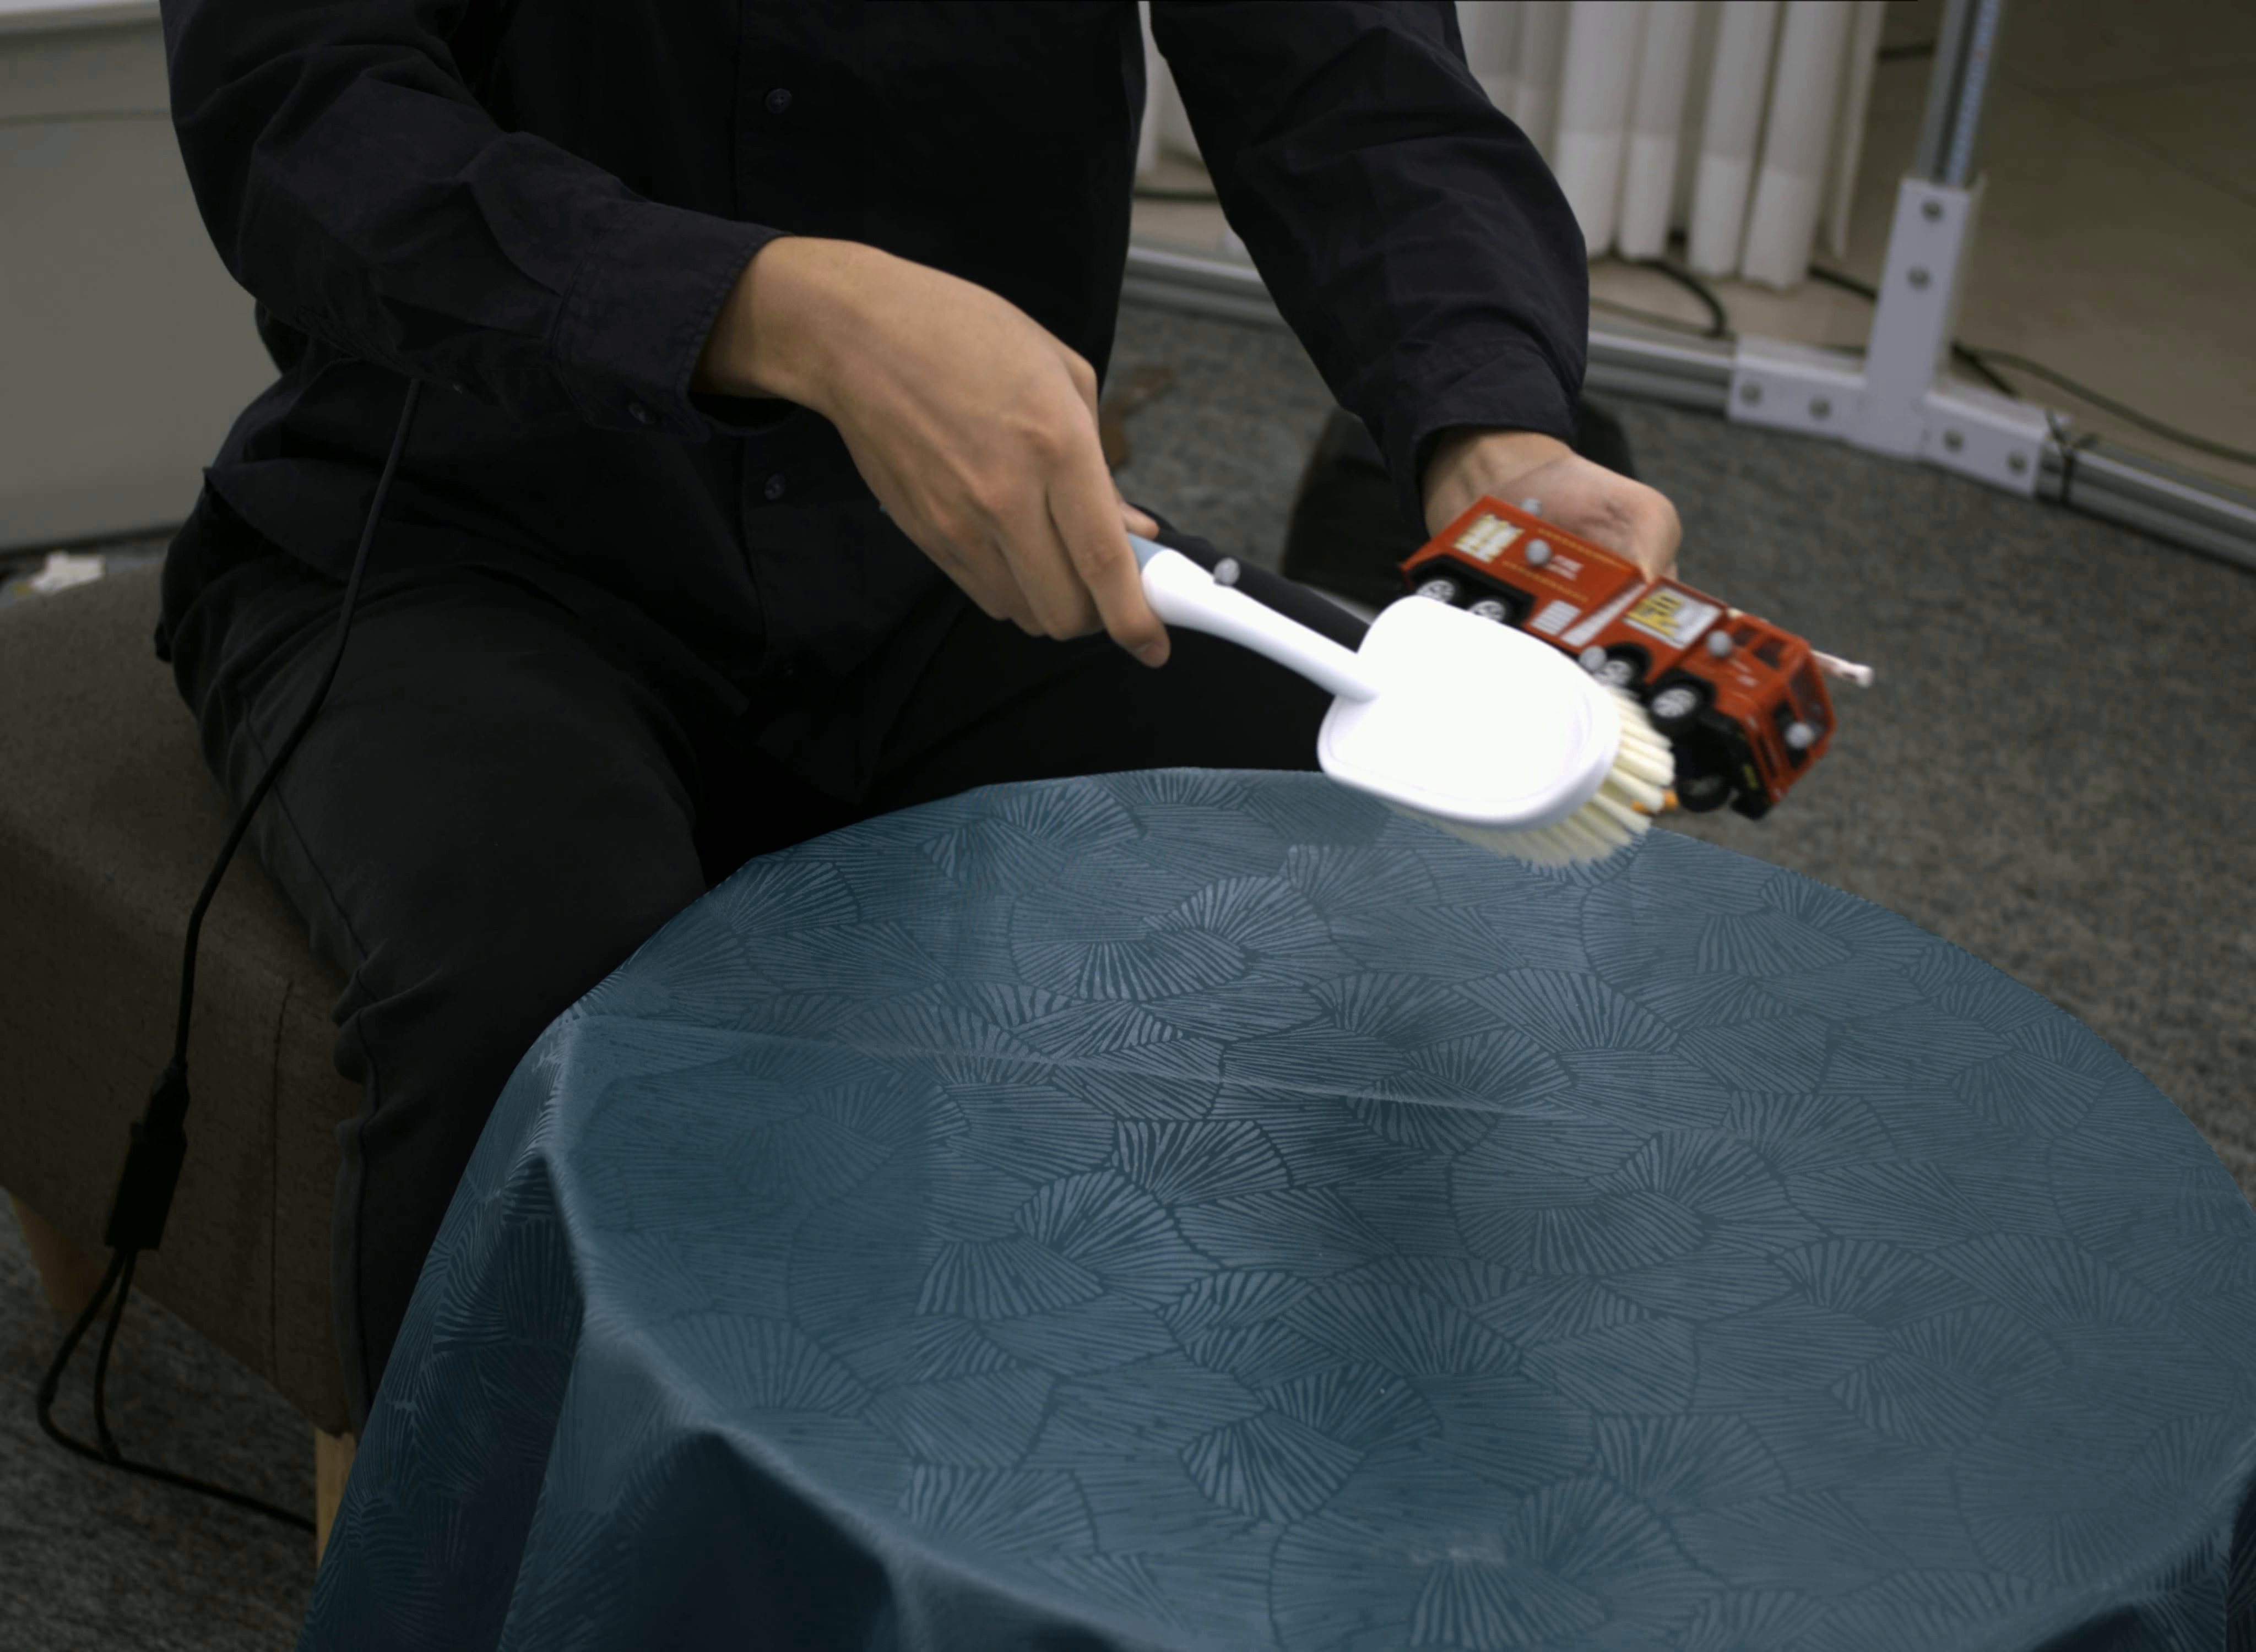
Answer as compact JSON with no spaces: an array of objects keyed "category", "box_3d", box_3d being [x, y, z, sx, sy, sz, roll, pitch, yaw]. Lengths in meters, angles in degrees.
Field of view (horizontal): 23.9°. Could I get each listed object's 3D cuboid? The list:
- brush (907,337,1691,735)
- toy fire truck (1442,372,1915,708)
[{"category":"brush","box_3d":[0.061,-0.104,1.798,0.328,0.084,0.083,24,50,37]},{"category":"toy fire truck","box_3d":[0.177,-0.097,1.760,0.070,0.053,0.169,-43,43,-19]}]
